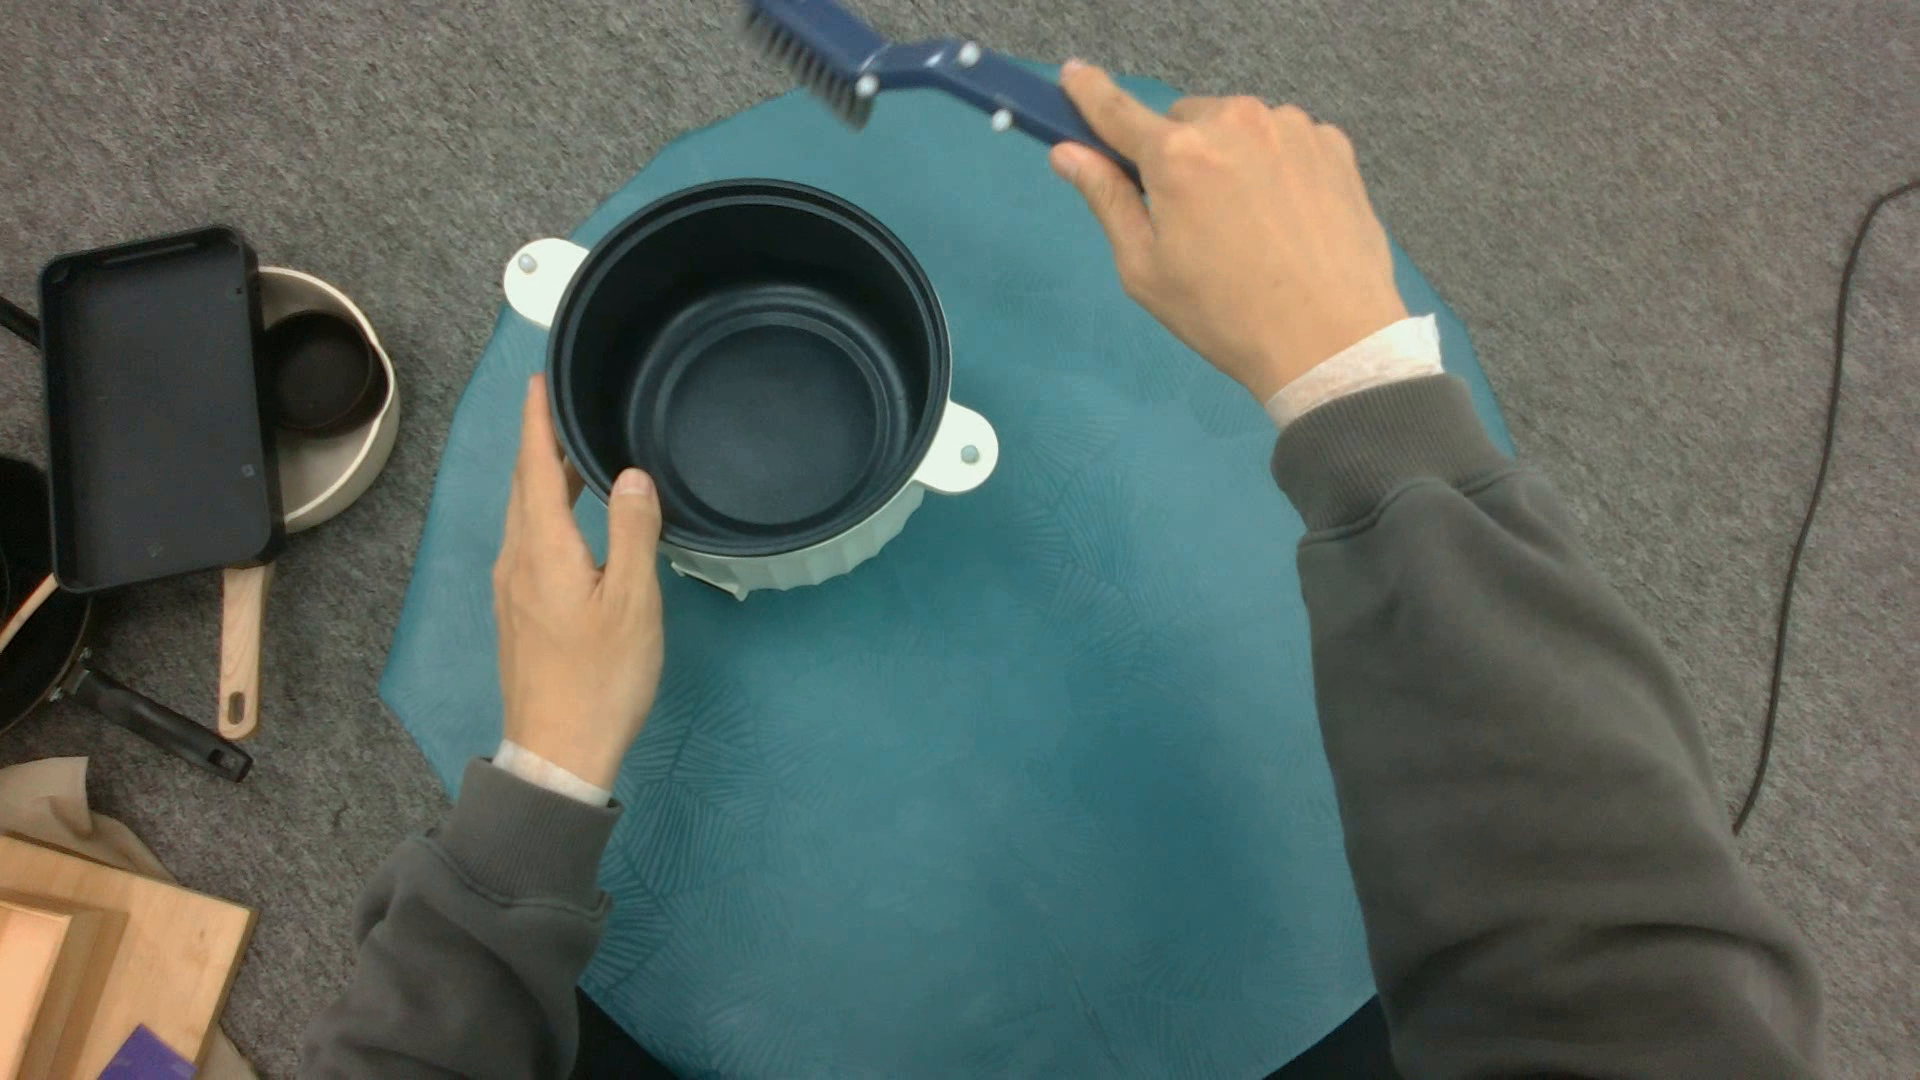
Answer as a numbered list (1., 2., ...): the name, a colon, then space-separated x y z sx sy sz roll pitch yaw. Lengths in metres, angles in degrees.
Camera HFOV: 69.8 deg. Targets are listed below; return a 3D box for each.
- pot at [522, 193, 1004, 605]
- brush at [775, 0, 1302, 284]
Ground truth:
1. pot: -0.092 -0.068 0.700 0.240 0.142 0.191 22 81 3
2. brush: 0.019 -0.189 0.571 0.273 0.095 0.033 30 57 24
